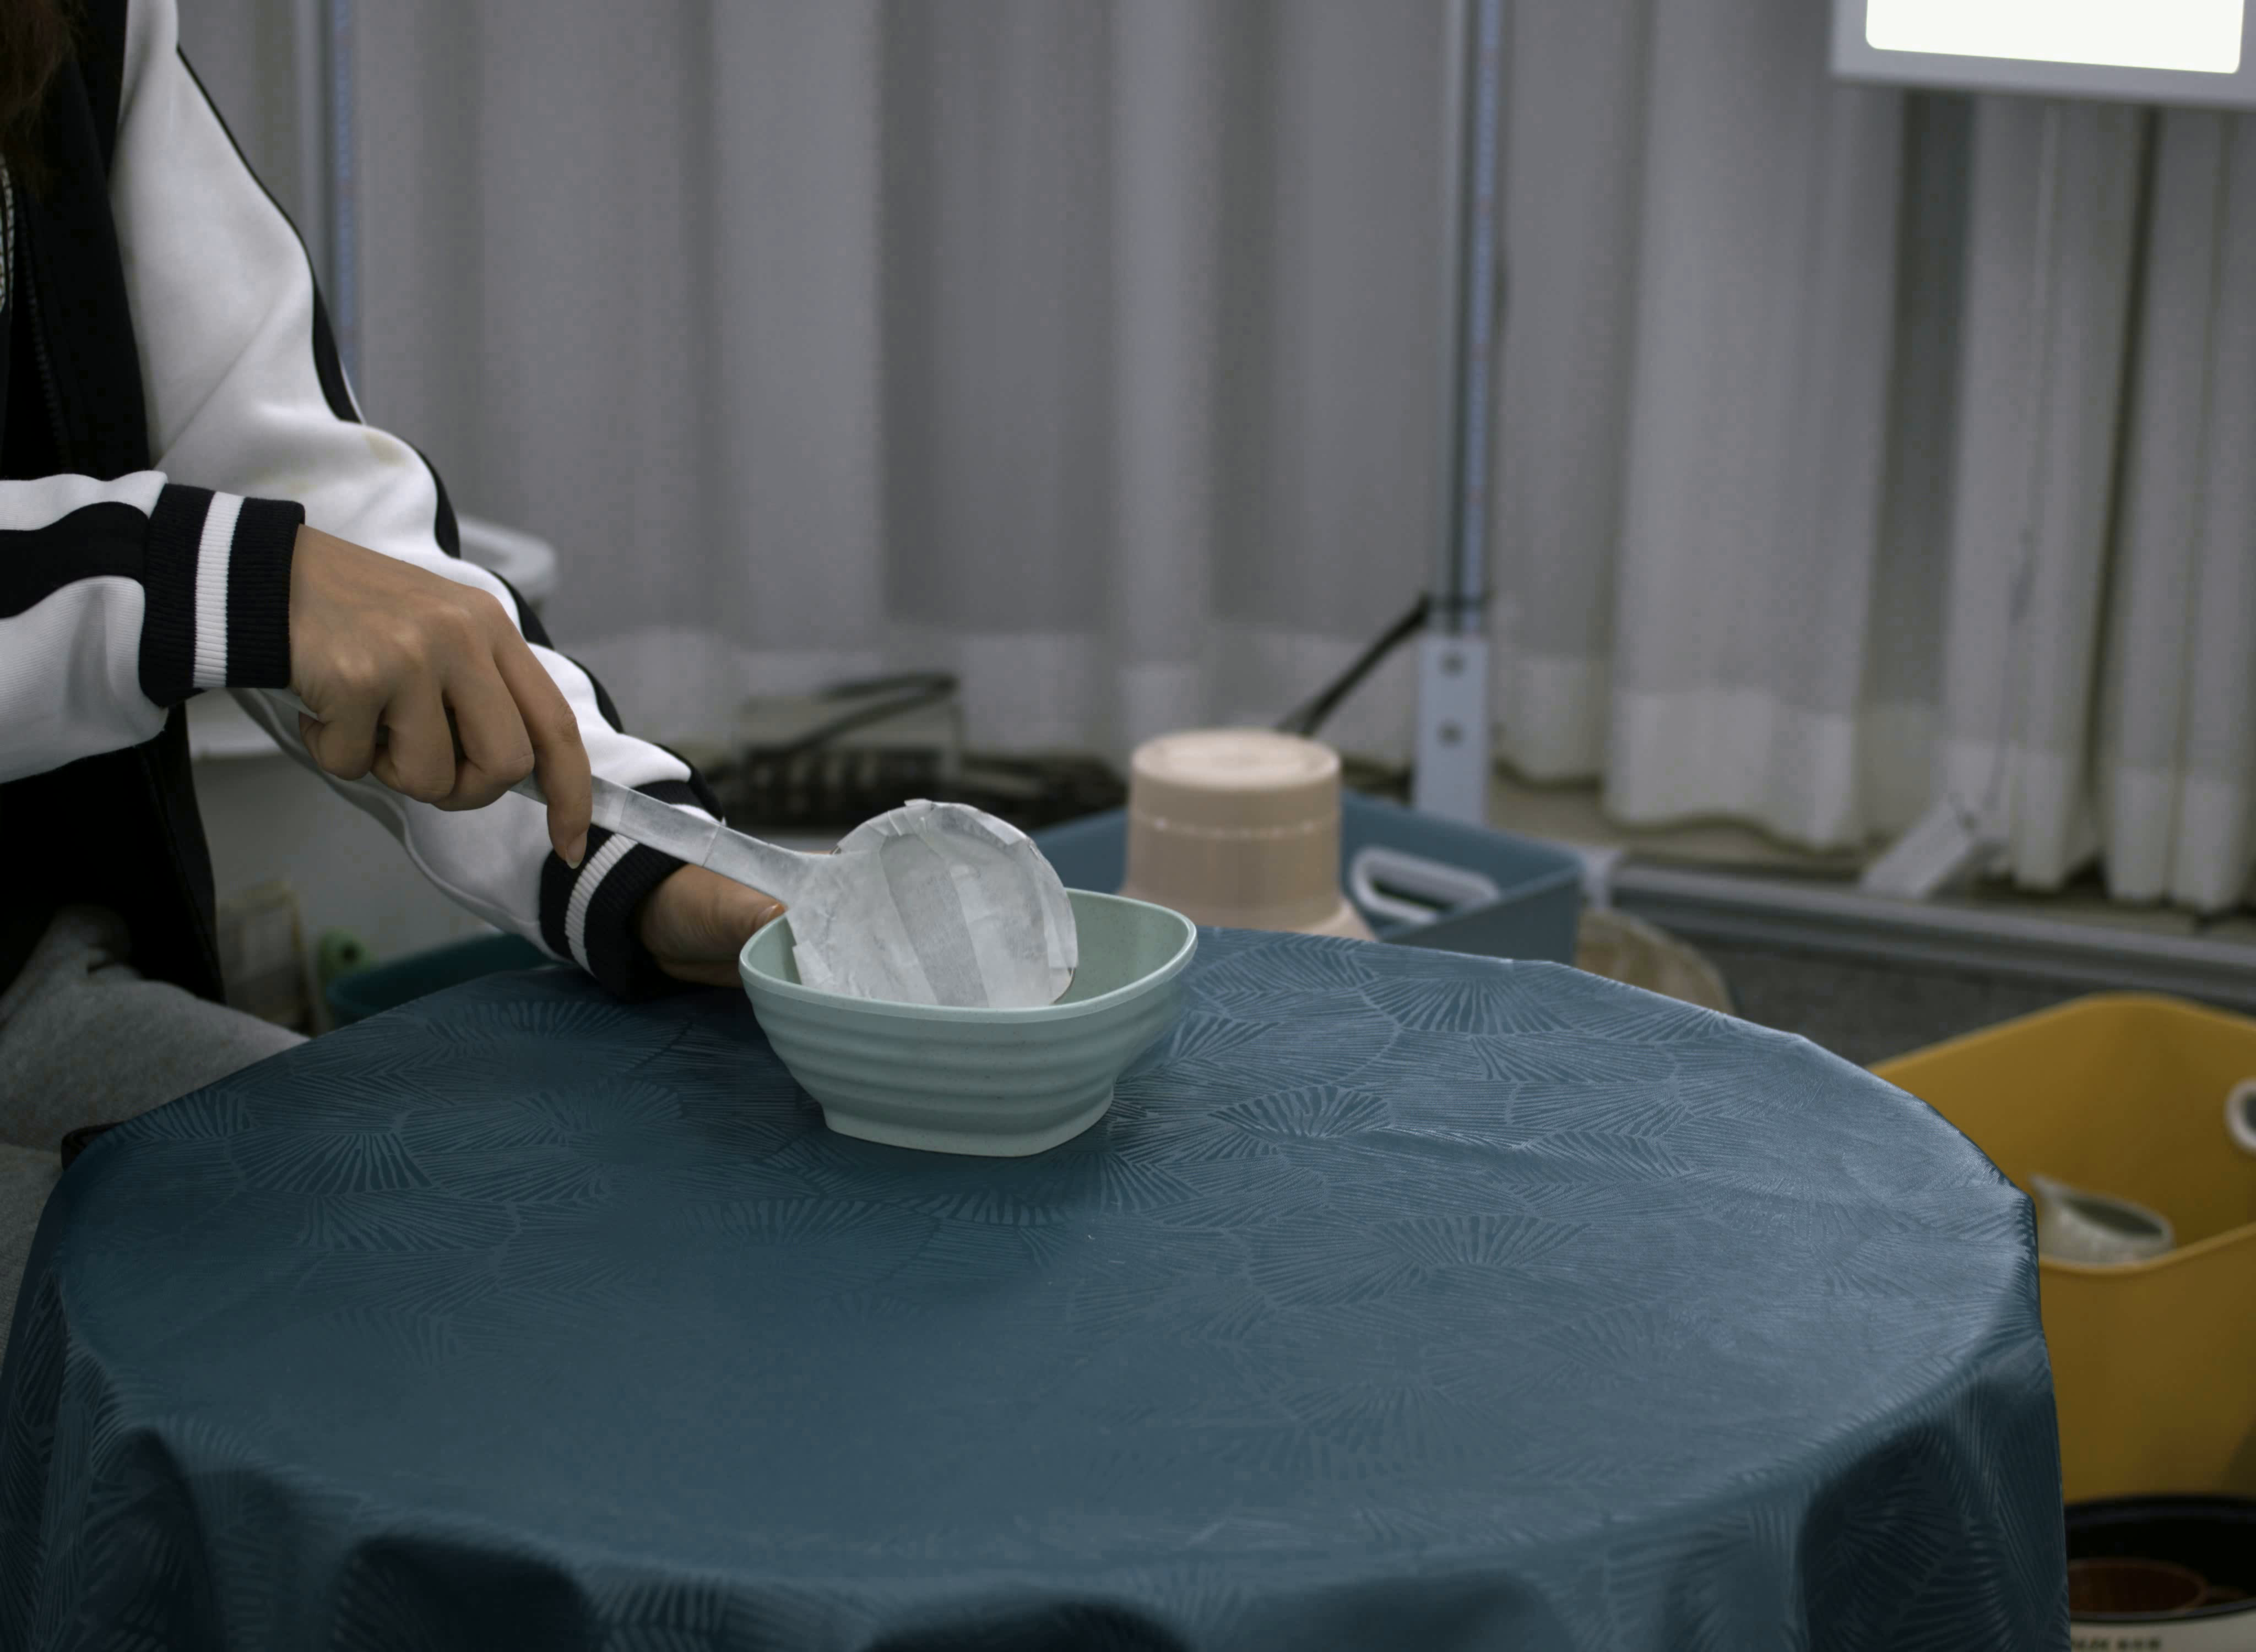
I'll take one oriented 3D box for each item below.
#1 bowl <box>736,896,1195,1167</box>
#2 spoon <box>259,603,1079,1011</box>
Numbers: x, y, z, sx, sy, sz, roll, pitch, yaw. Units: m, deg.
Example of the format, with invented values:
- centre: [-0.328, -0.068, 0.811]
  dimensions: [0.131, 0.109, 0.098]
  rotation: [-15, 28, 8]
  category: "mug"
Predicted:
- centre: [-0.051, 0.067, 1.687]
  dimensions: [0.151, 0.059, 0.150]
  rotation: [1, 16, 0]
  category: "bowl"
- centre: [-0.142, -0.007, 1.651]
  dimensions: [0.280, 0.101, 0.059]
  rotation: [27, 0, -24]
  category: "spoon"
